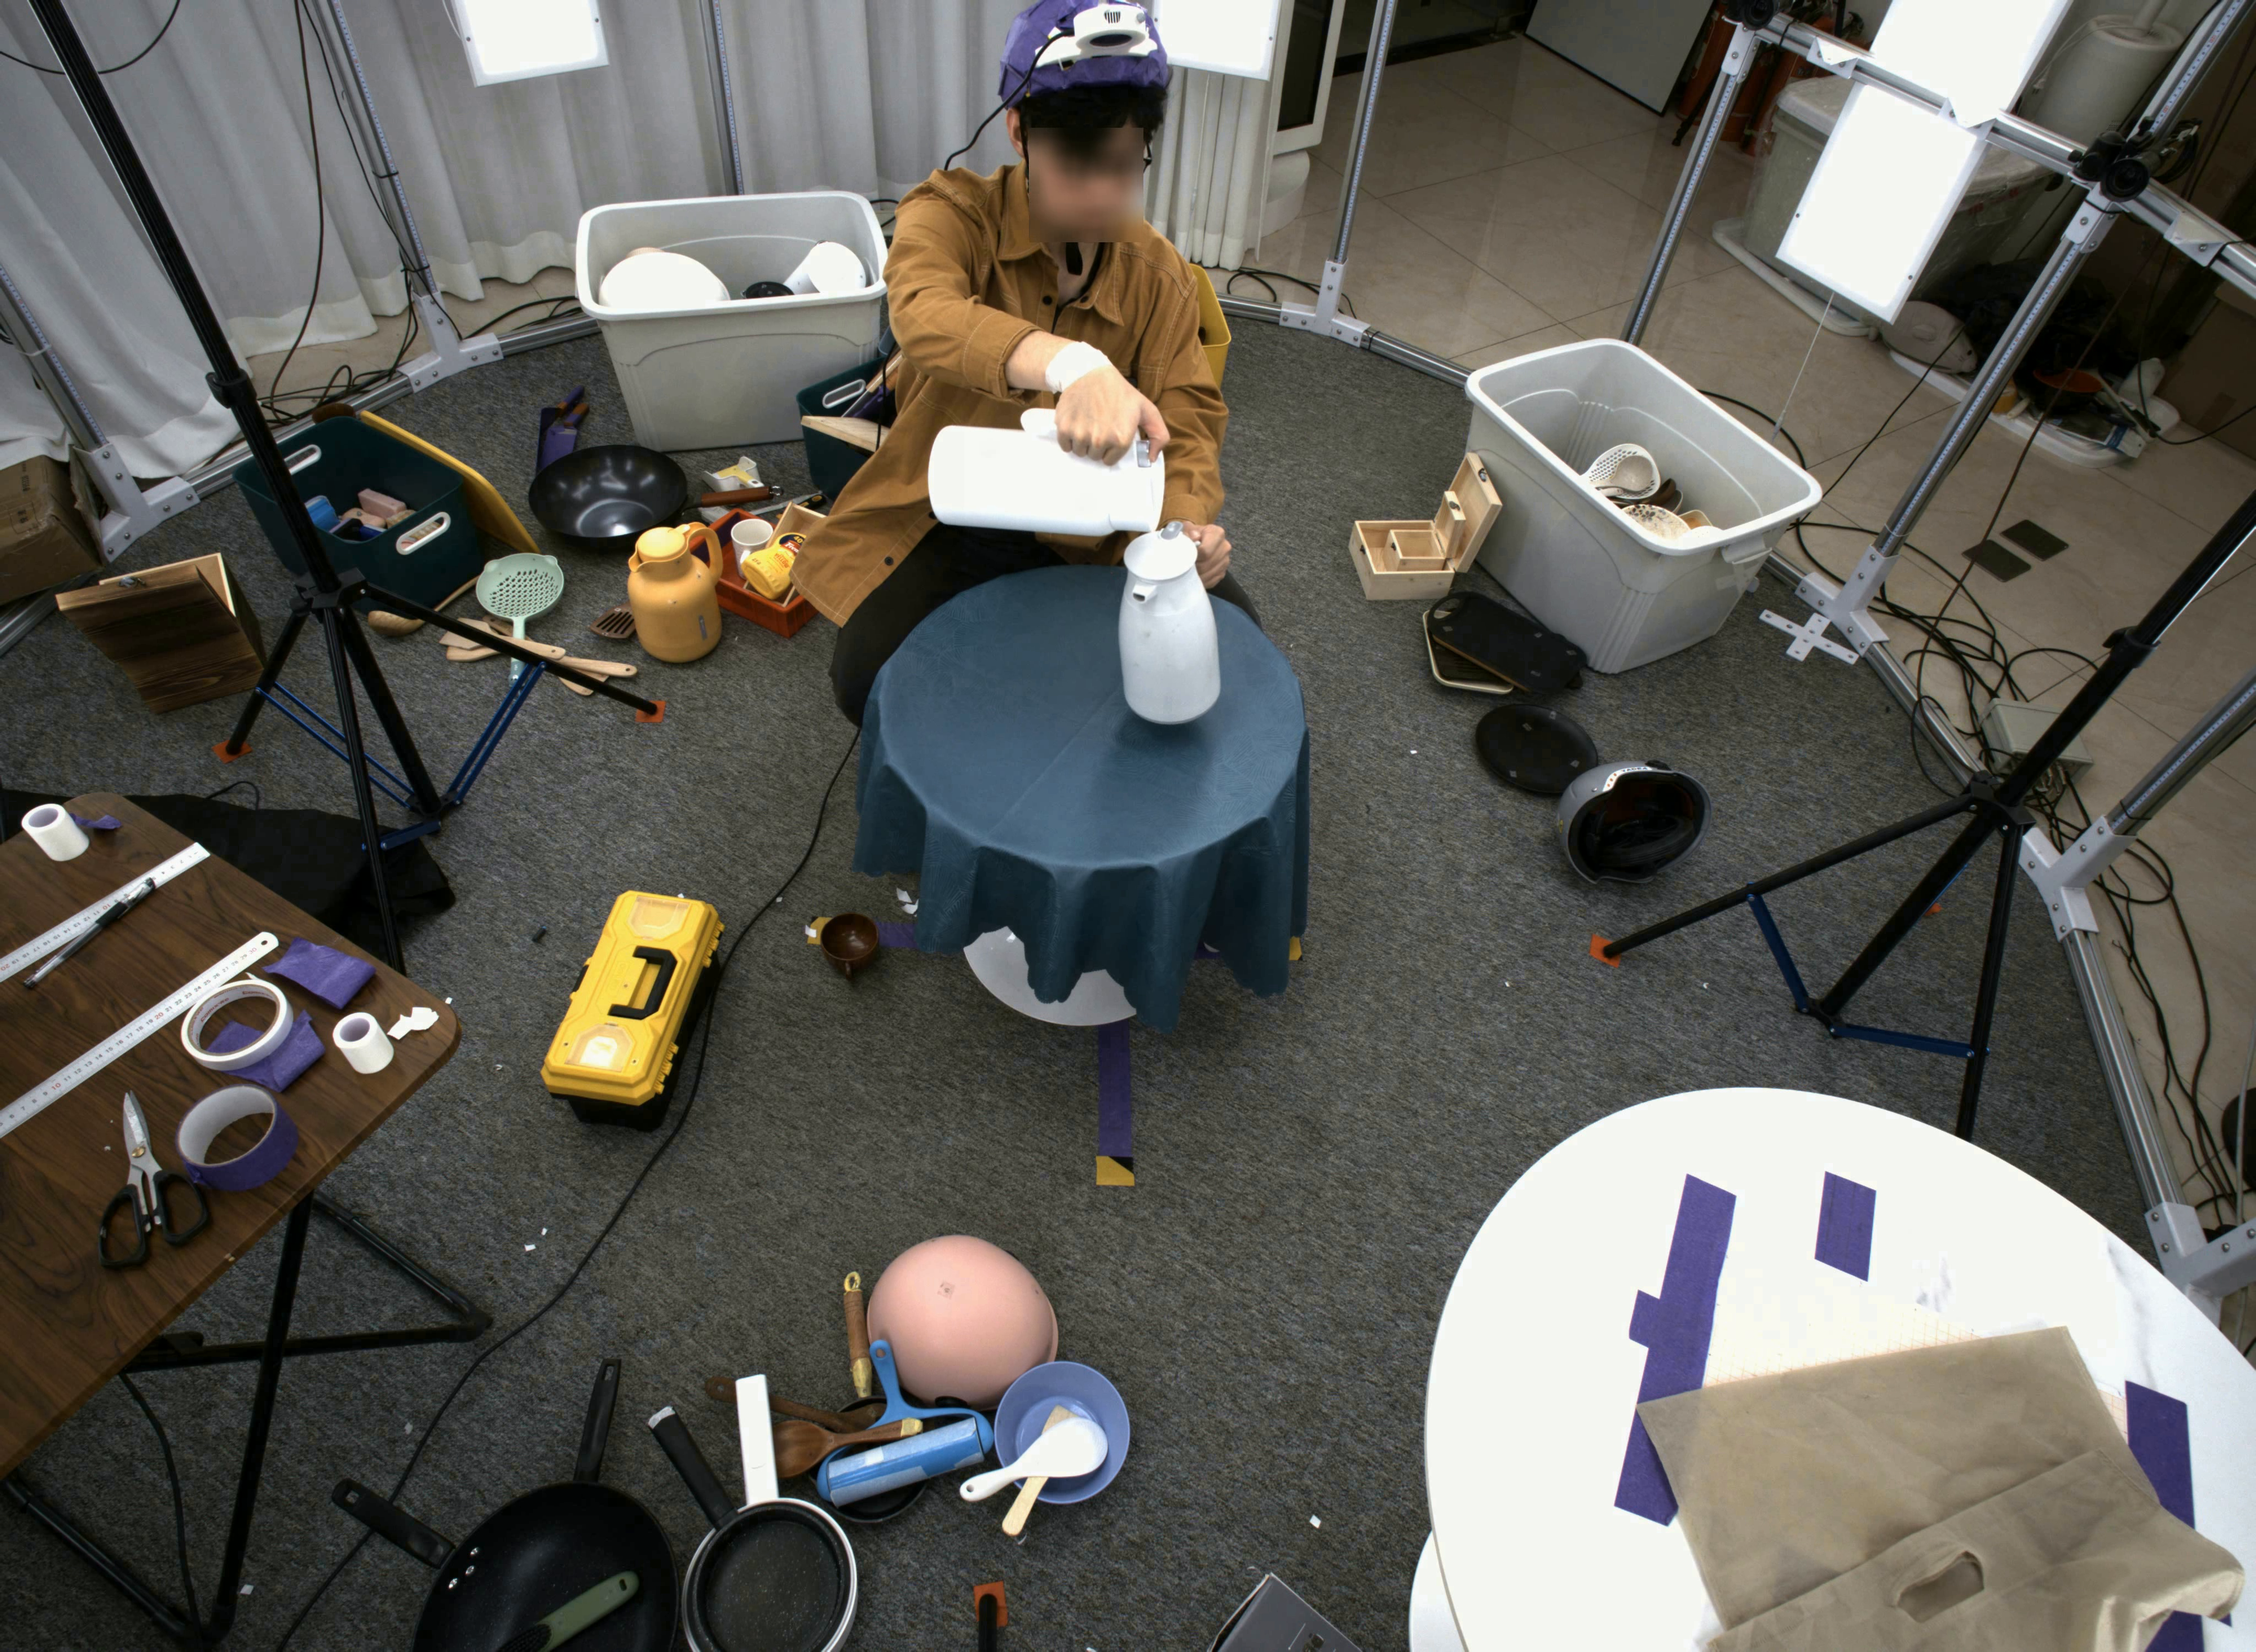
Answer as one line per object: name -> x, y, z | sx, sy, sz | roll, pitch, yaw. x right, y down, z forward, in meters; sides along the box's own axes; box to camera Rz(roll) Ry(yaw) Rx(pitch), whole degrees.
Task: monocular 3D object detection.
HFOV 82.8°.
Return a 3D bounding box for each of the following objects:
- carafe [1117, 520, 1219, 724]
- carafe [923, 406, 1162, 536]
carafe -> 0.056, -0.278, 1.678 | 0.133, 0.242, 0.170 | 18, 54, 20
carafe -> -0.100, -0.412, 1.502 | 0.269, 0.169, 0.126 | 8, 63, 13
